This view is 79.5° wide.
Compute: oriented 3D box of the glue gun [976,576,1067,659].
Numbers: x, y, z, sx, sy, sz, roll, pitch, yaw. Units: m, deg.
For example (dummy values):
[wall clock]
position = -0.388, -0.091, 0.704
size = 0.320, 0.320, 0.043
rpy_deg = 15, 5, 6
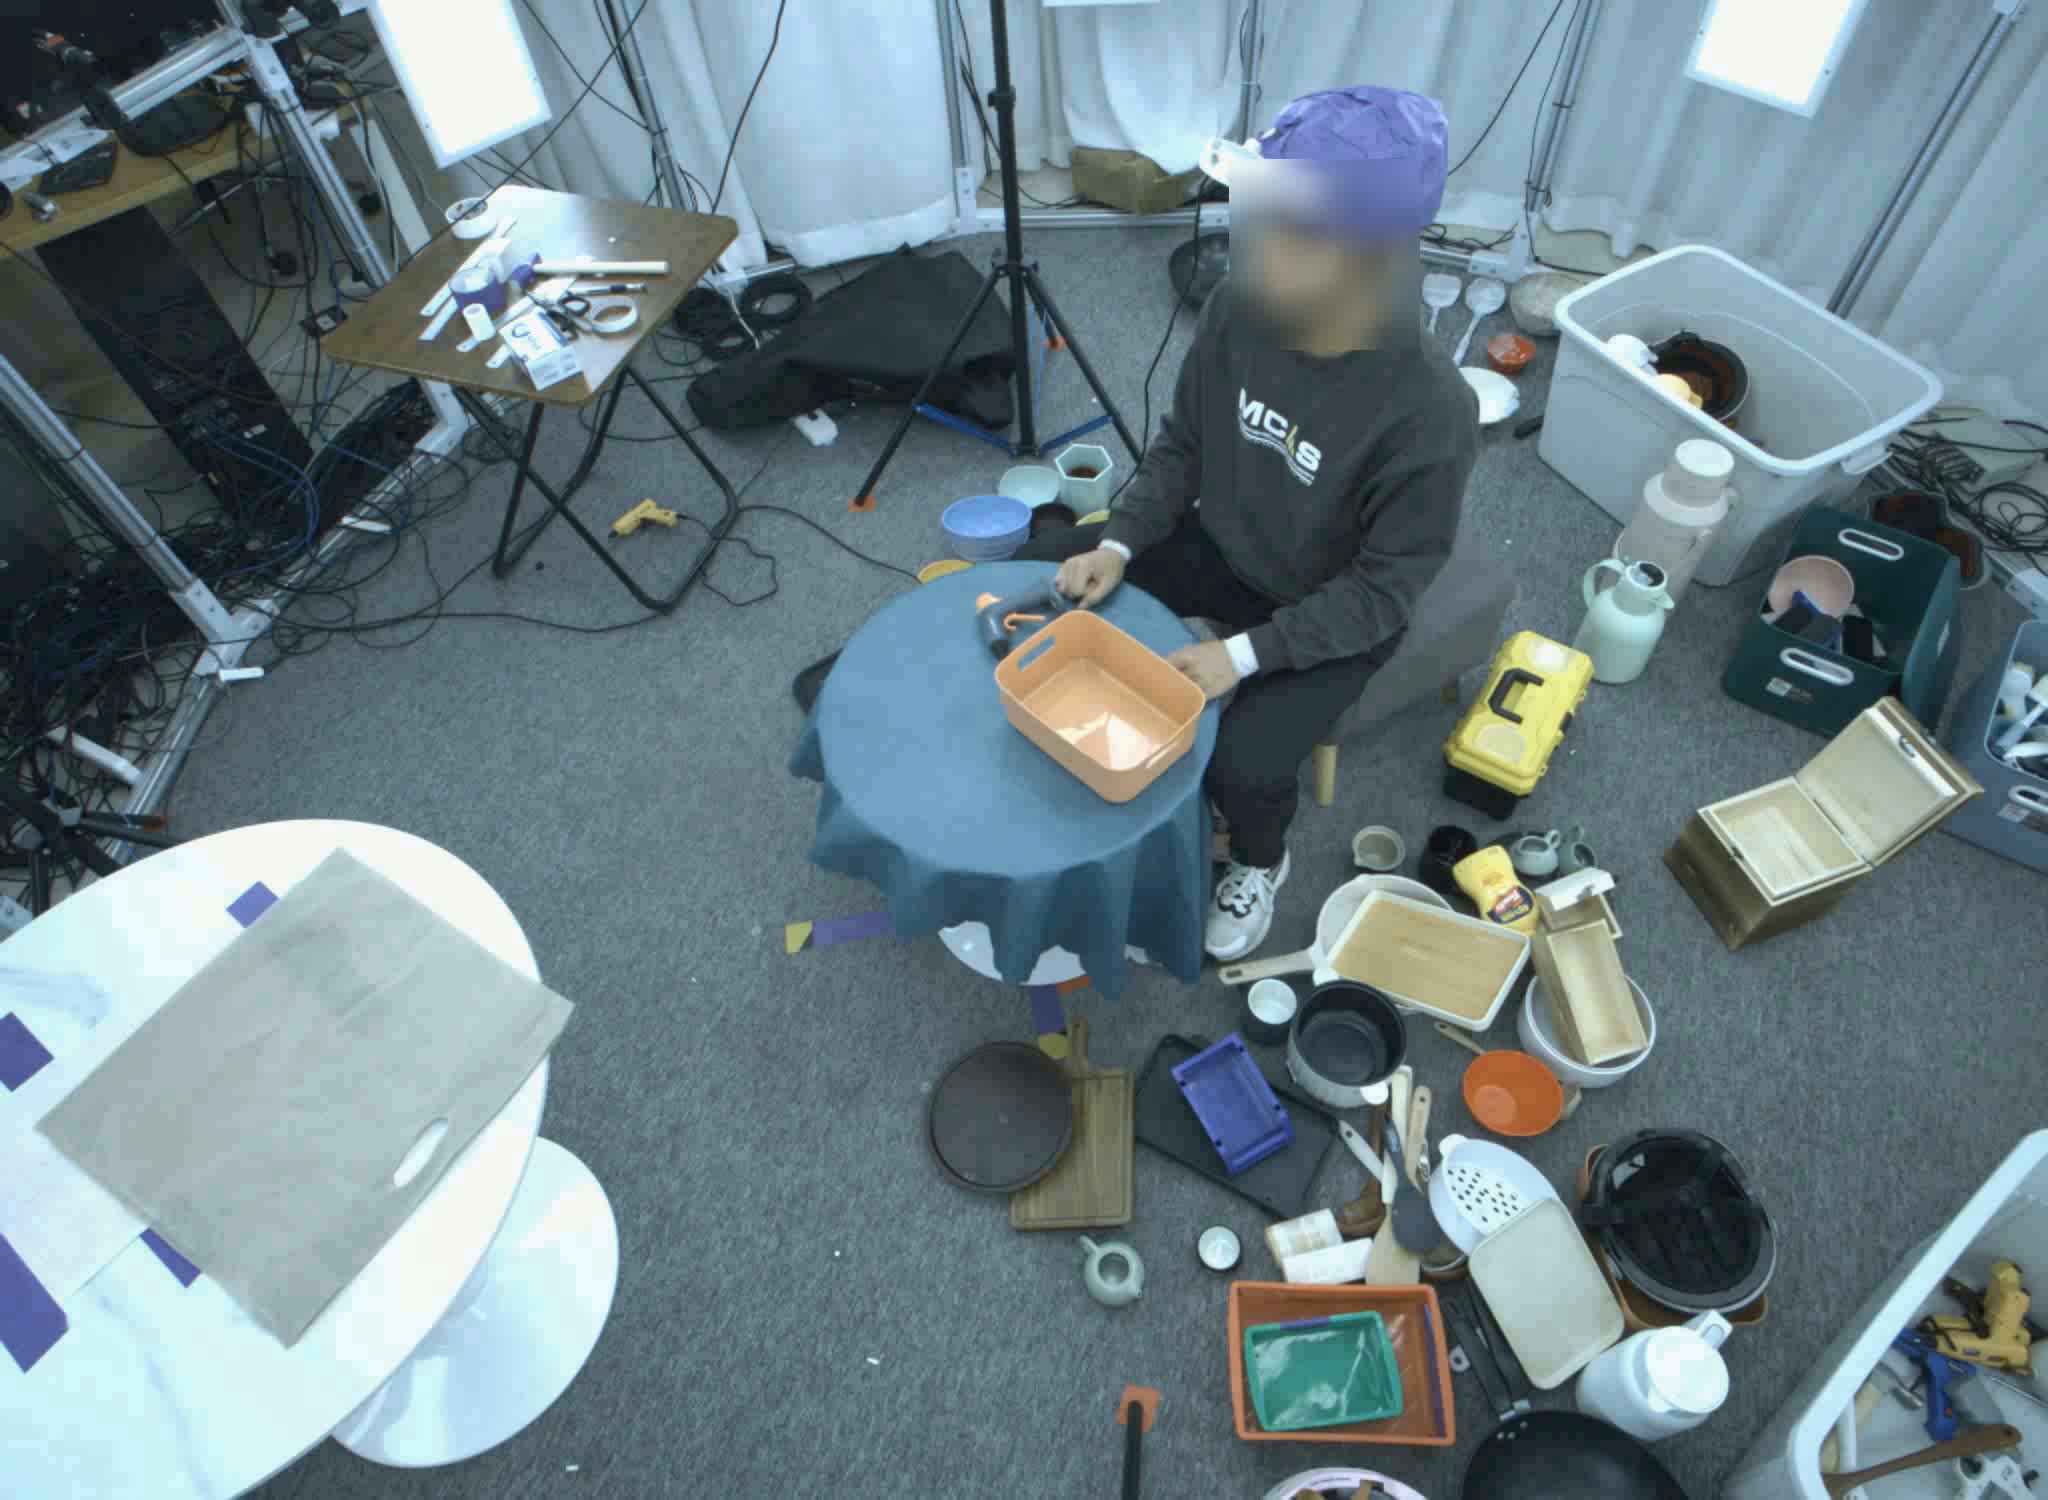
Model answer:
[glue gun]
position = -0.008, -0.209, 1.917
size = 0.141, 0.041, 0.116
rpy_deg = -28, 60, -14

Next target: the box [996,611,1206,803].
[box]
position = 0.109, -0.060, 1.761
size = 0.201, 0.104, 0.268
rpy_deg = -40, 61, -23
